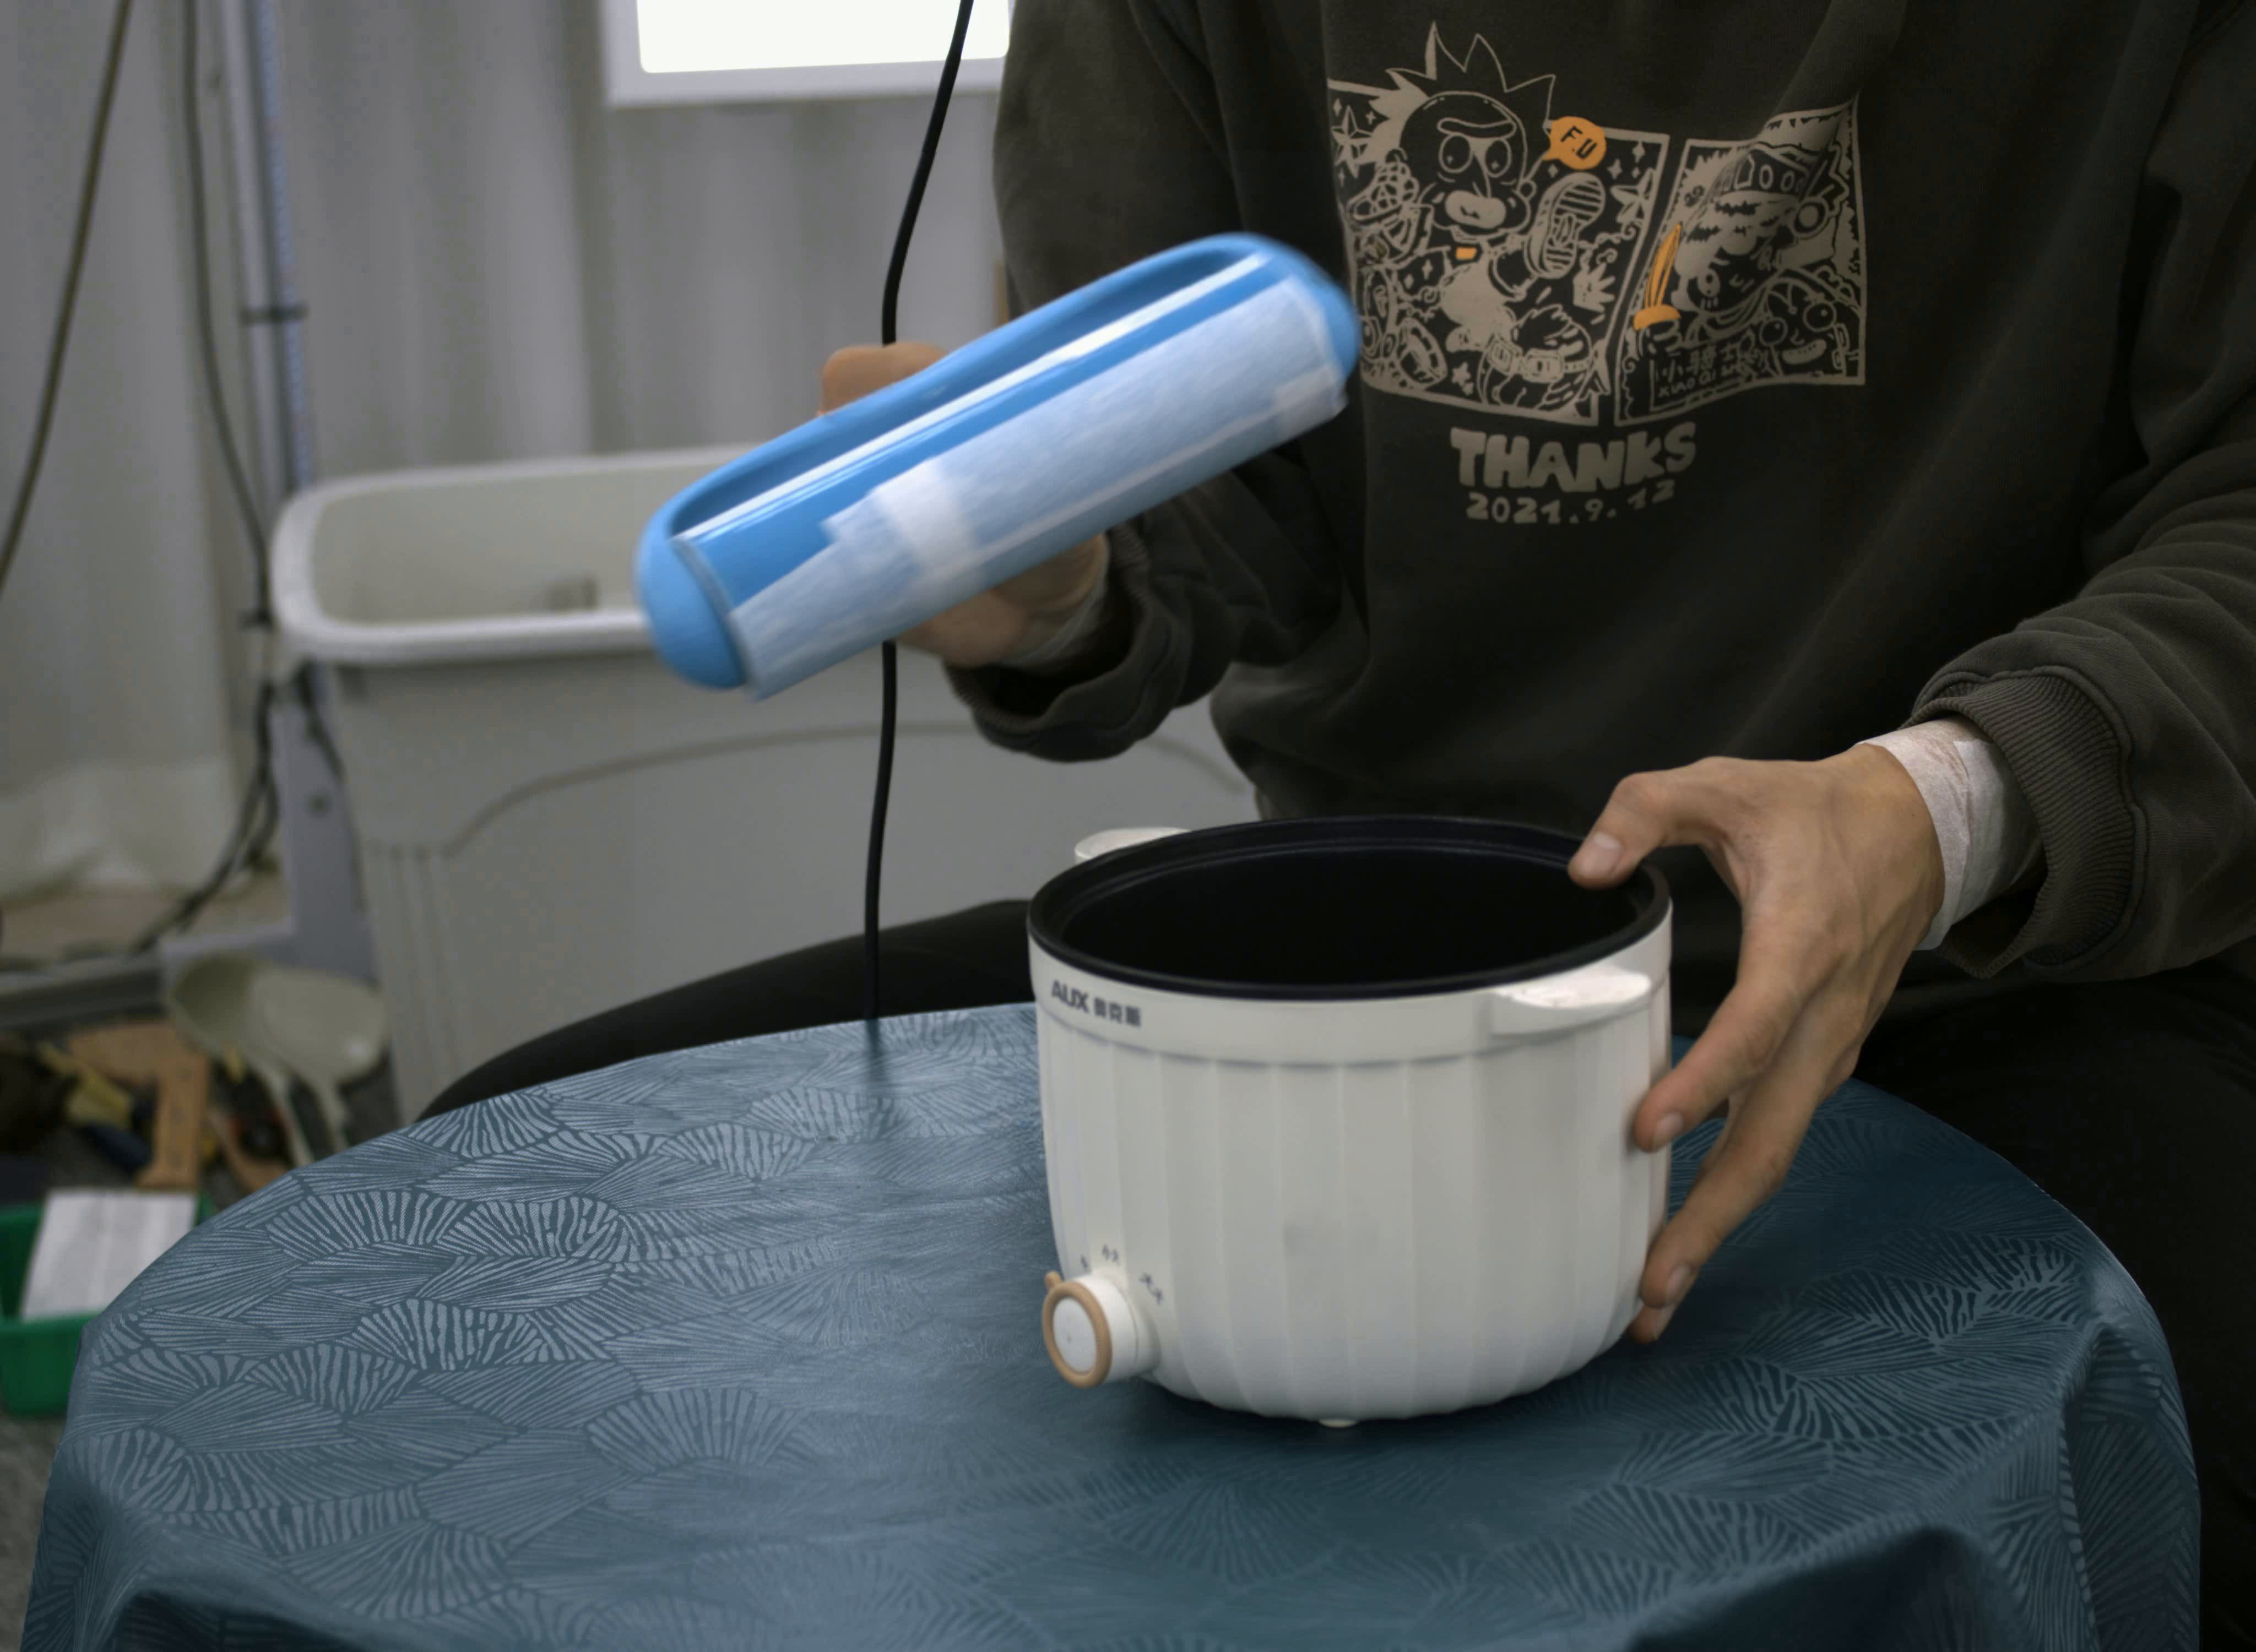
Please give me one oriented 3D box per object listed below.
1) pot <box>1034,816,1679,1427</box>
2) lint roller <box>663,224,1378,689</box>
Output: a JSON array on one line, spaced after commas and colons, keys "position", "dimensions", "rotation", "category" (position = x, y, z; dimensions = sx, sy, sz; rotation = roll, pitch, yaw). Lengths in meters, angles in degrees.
[{"position": [0.062, 0.086, 1.551], "dimensions": [0.189, 0.142, 0.242], "rotation": [-9, 14, -35], "category": "pot"}, {"position": [-0.048, -0.110, 1.649], "dimensions": [0.229, 0.067, 0.181], "rotation": [-29, 12, -15], "category": "lint roller"}]
